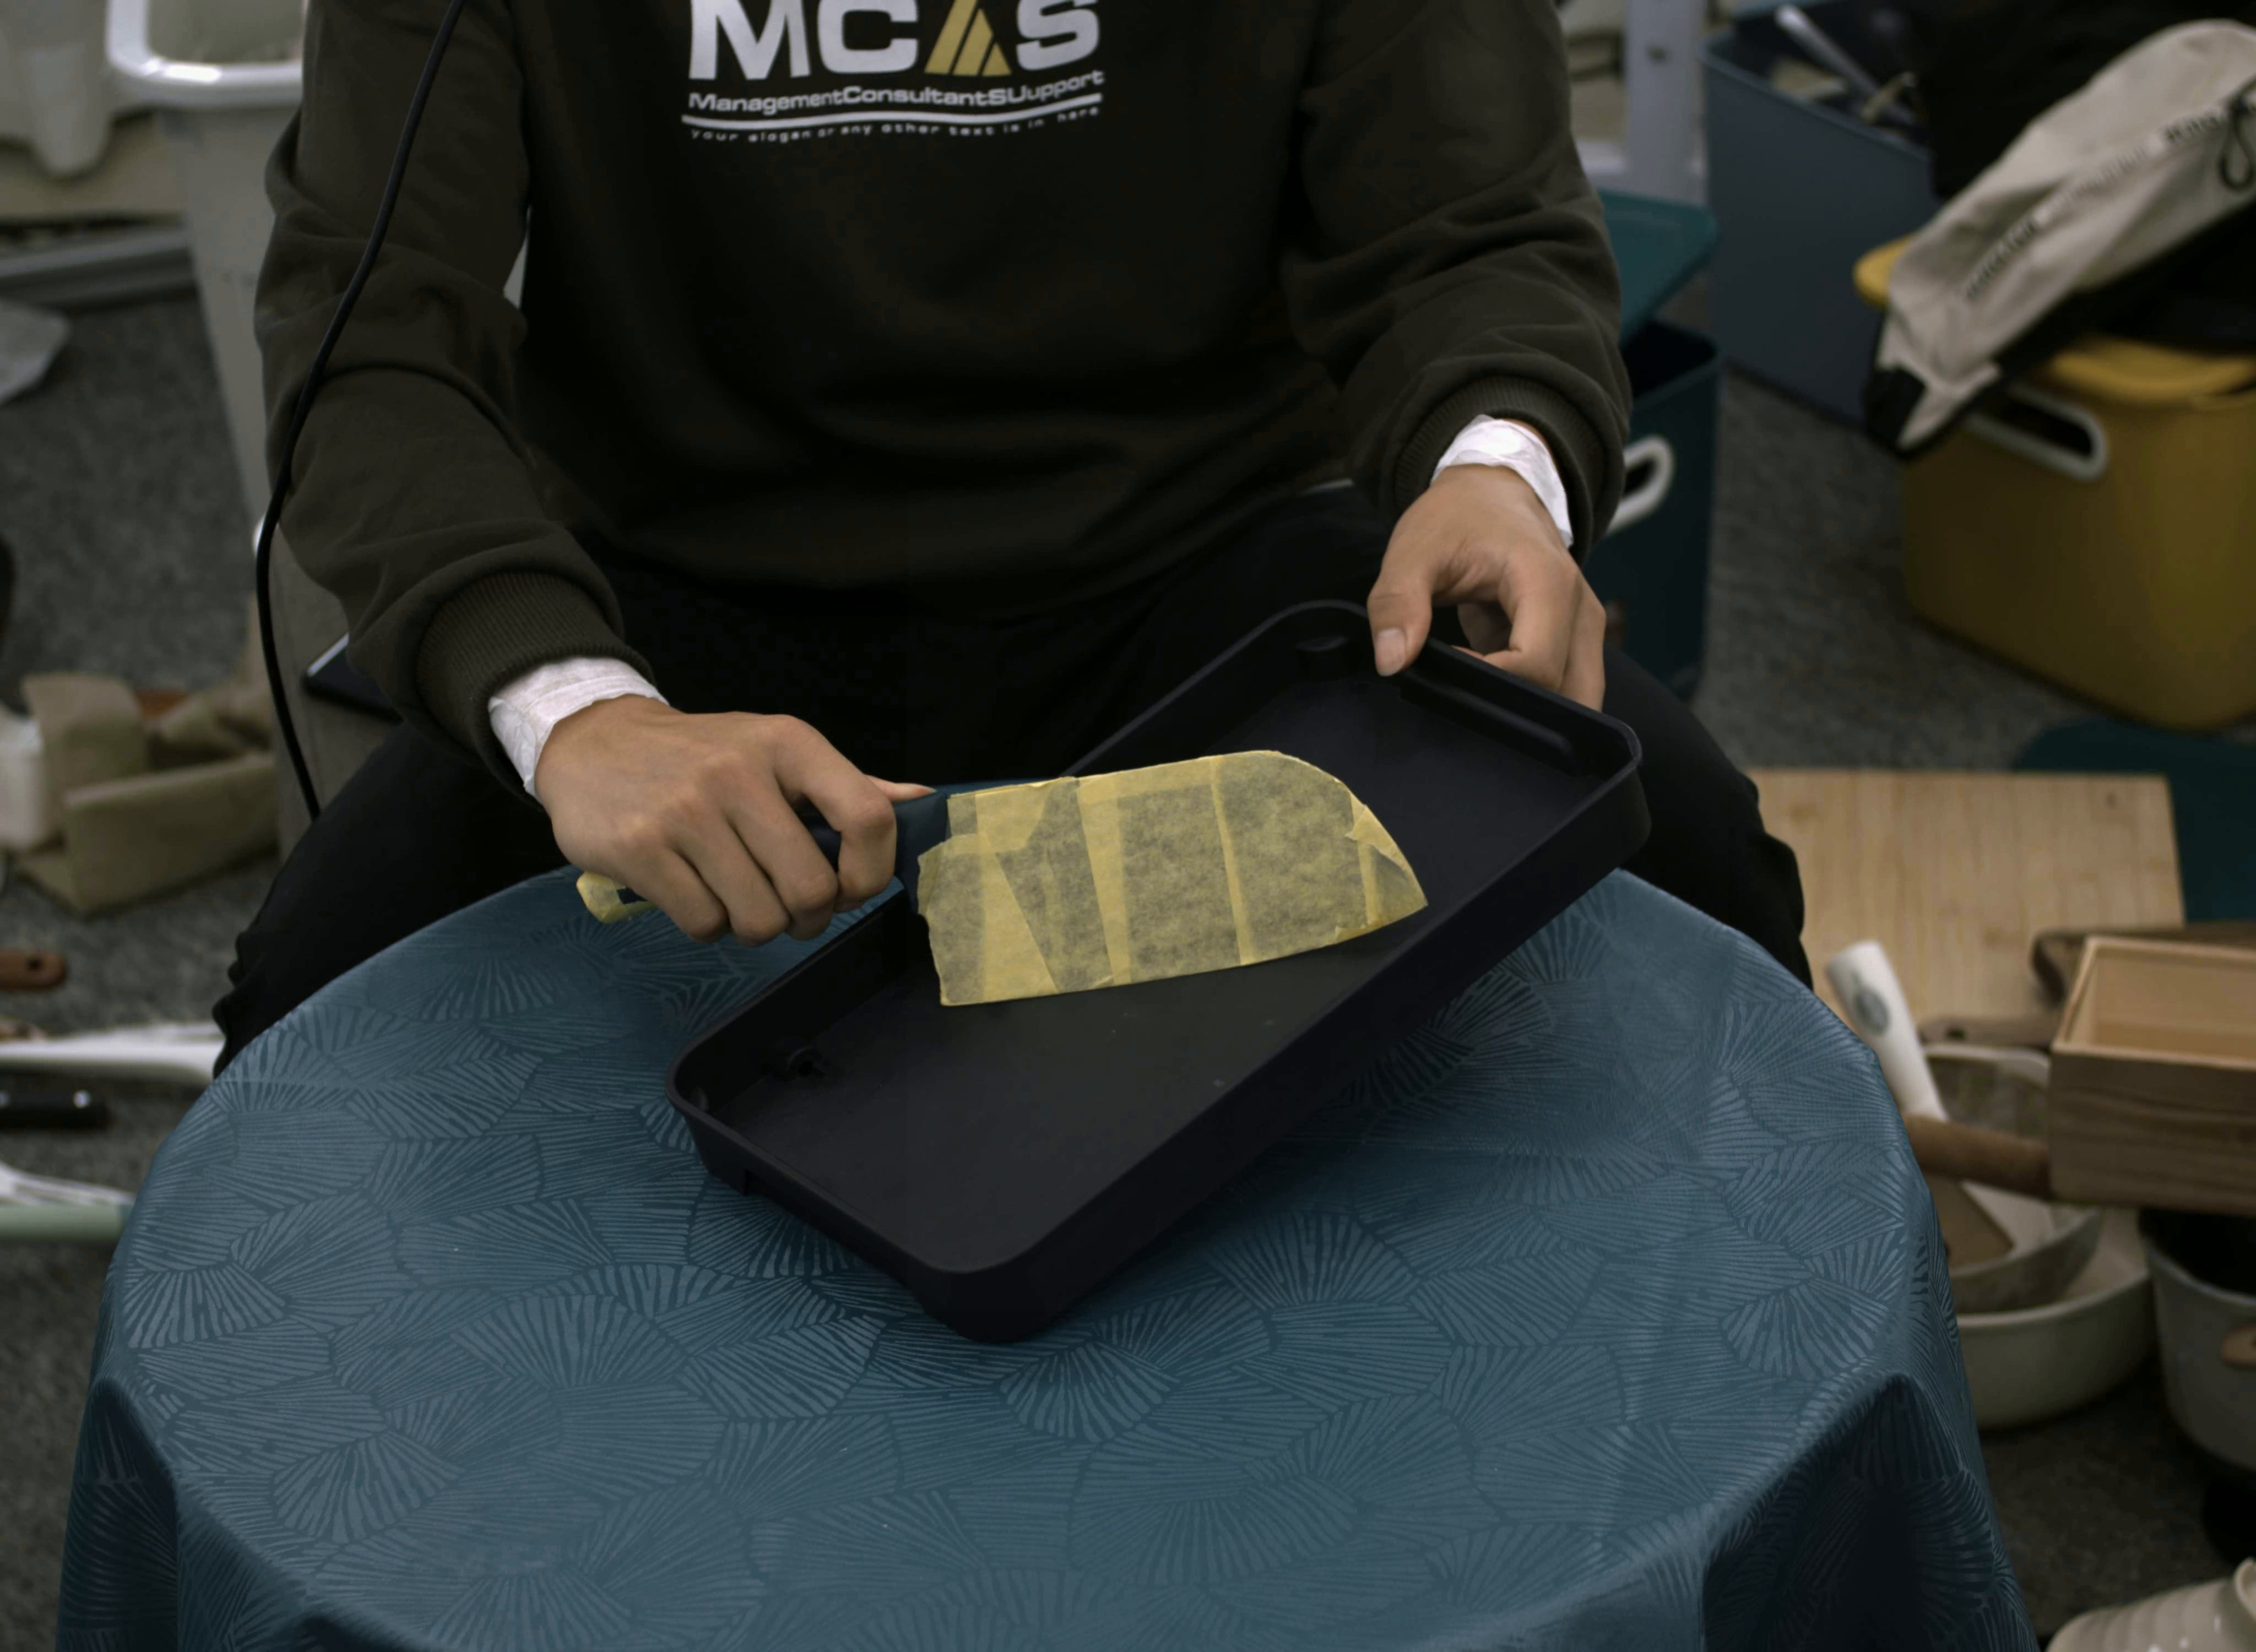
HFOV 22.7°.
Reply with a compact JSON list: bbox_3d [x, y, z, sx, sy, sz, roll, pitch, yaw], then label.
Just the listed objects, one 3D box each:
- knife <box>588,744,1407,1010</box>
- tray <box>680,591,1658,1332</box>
[{"bbox_3d":[-0.045,0.021,1.914,0.287,0.081,0.027,-6,1,13],"label":"knife"},{"bbox_3d":[0.017,0.039,1.896,0.322,0.036,0.184,-38,39,-26],"label":"tray"}]
